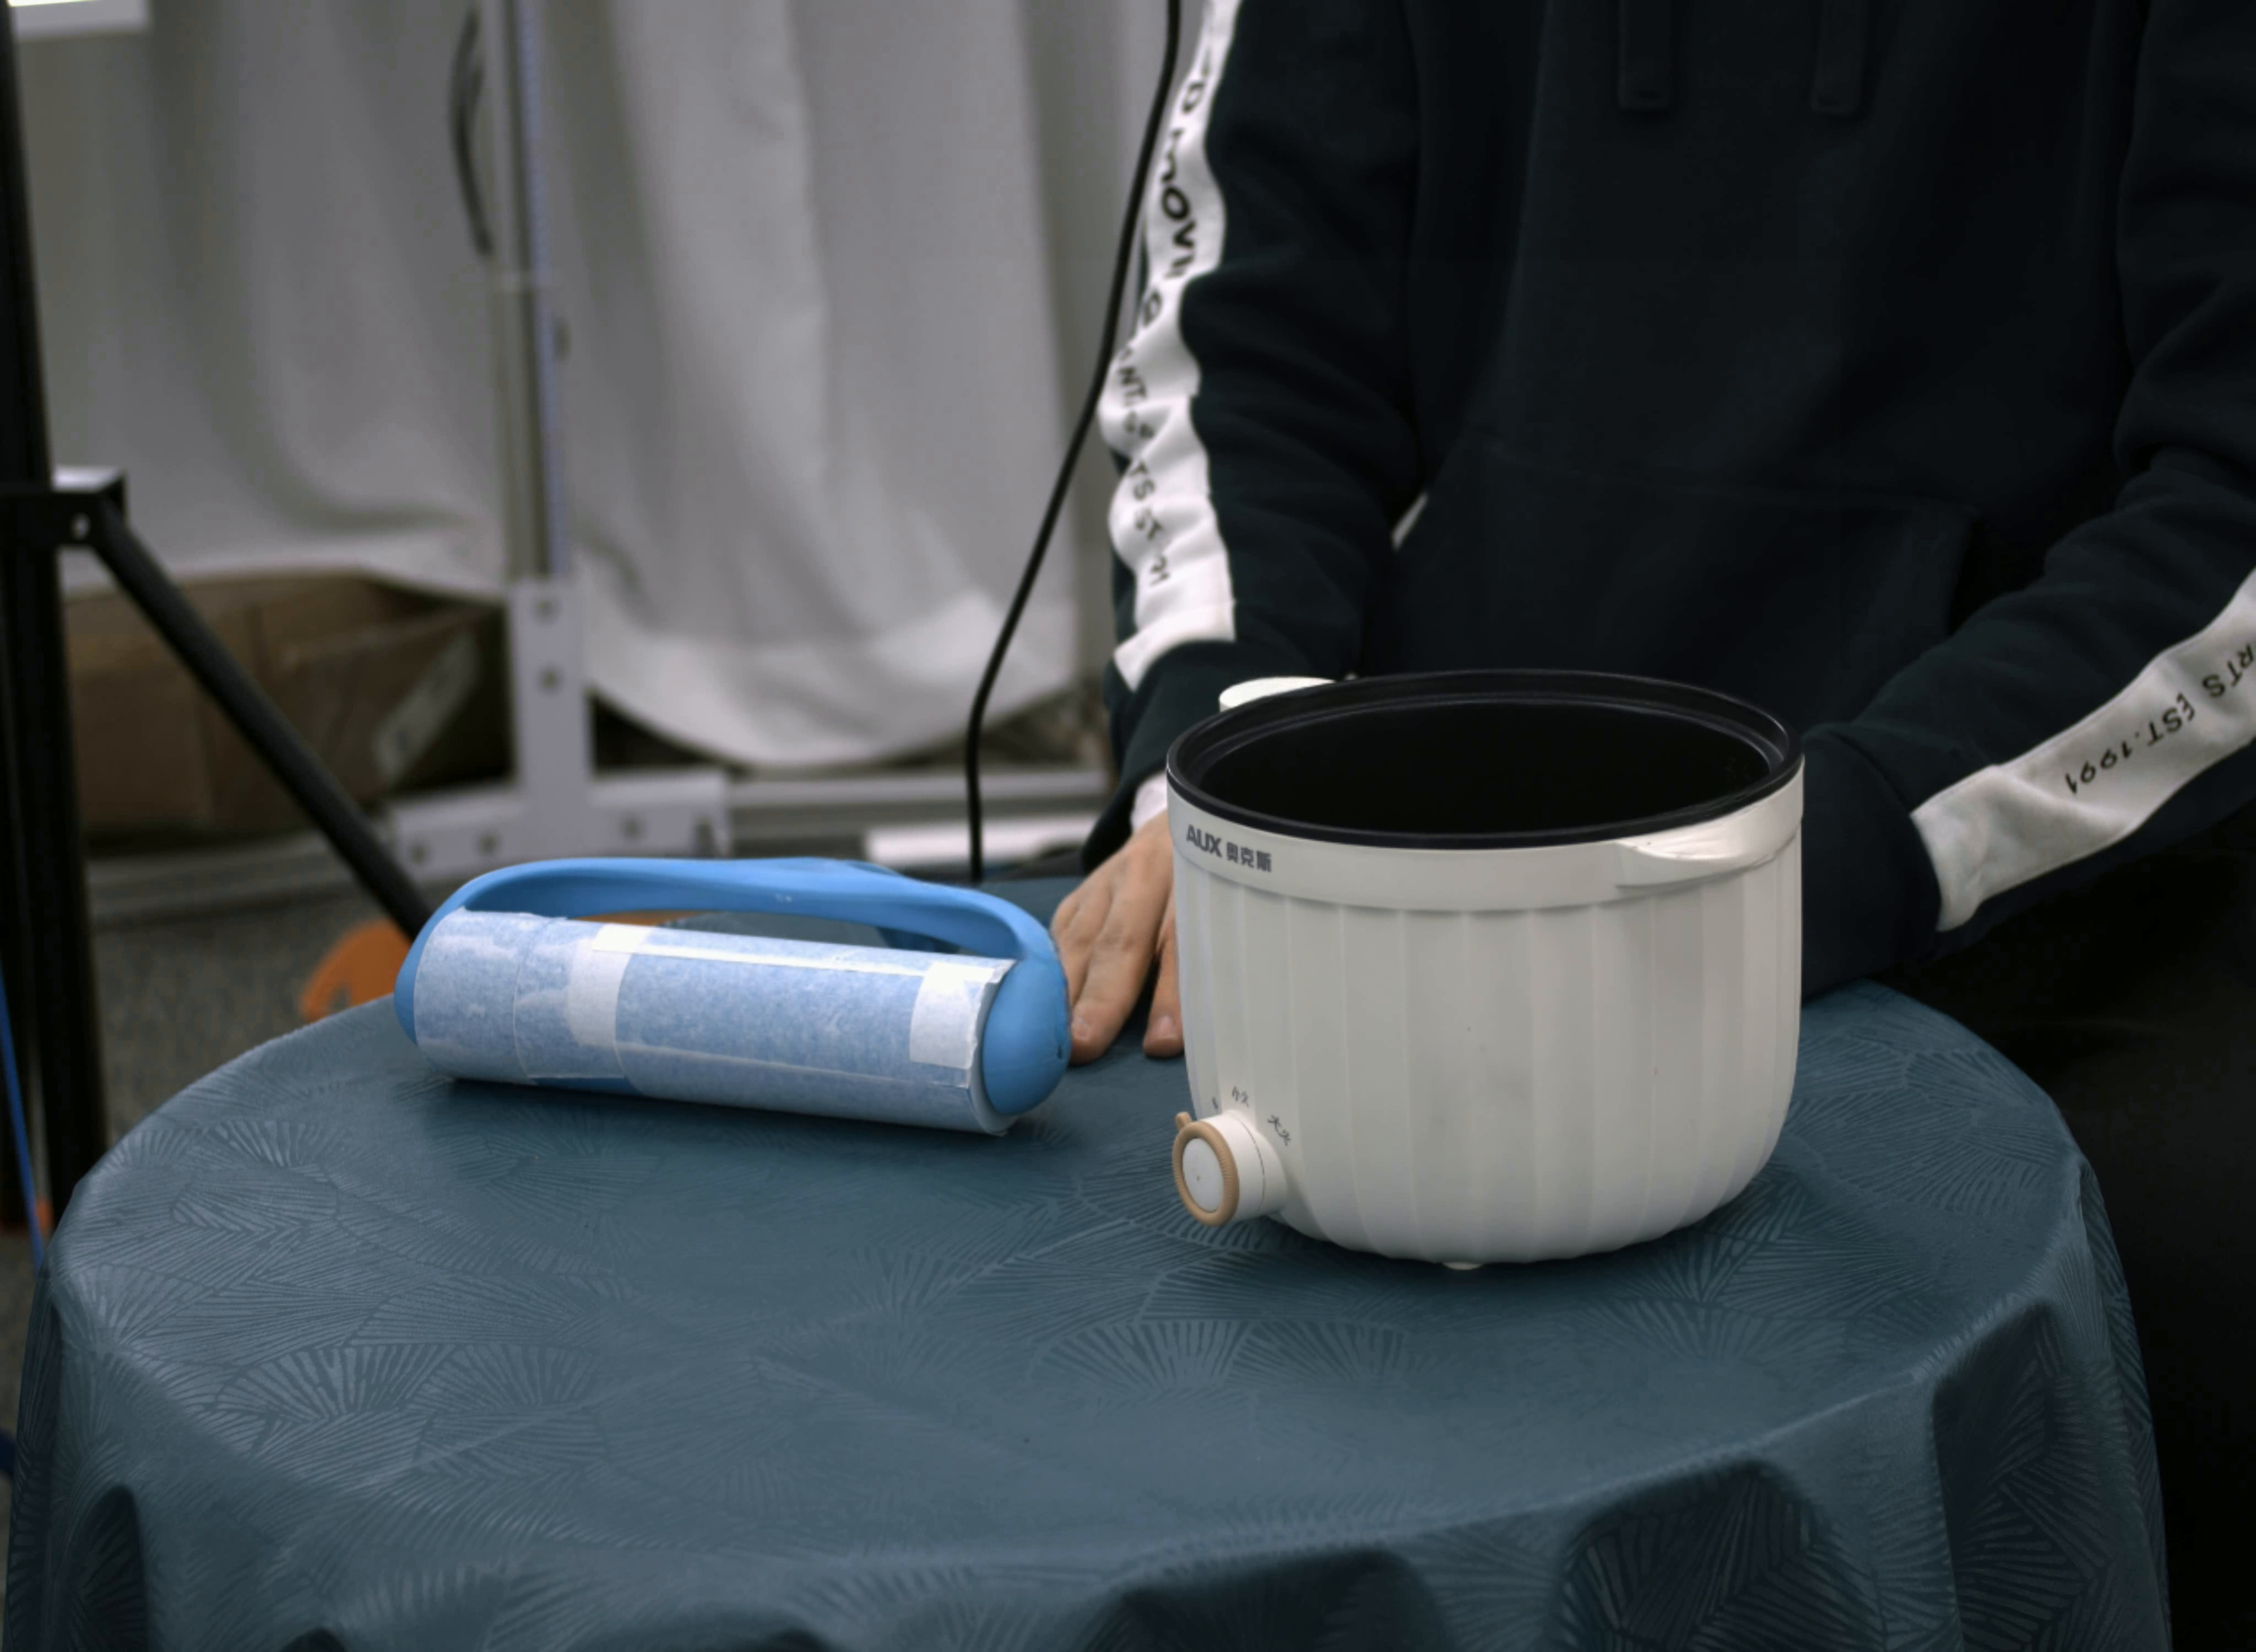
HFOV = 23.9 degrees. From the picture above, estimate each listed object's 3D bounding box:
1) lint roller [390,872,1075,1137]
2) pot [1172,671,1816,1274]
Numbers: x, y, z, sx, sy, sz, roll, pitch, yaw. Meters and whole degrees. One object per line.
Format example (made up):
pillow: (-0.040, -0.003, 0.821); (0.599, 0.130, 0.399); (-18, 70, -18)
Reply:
lint roller: (-0.105, 0.045, 1.699); (0.232, 0.068, 0.178); (1, 16, 21)
pot: (0.100, 0.044, 1.514); (0.186, 0.143, 0.246); (-8, 15, -31)
